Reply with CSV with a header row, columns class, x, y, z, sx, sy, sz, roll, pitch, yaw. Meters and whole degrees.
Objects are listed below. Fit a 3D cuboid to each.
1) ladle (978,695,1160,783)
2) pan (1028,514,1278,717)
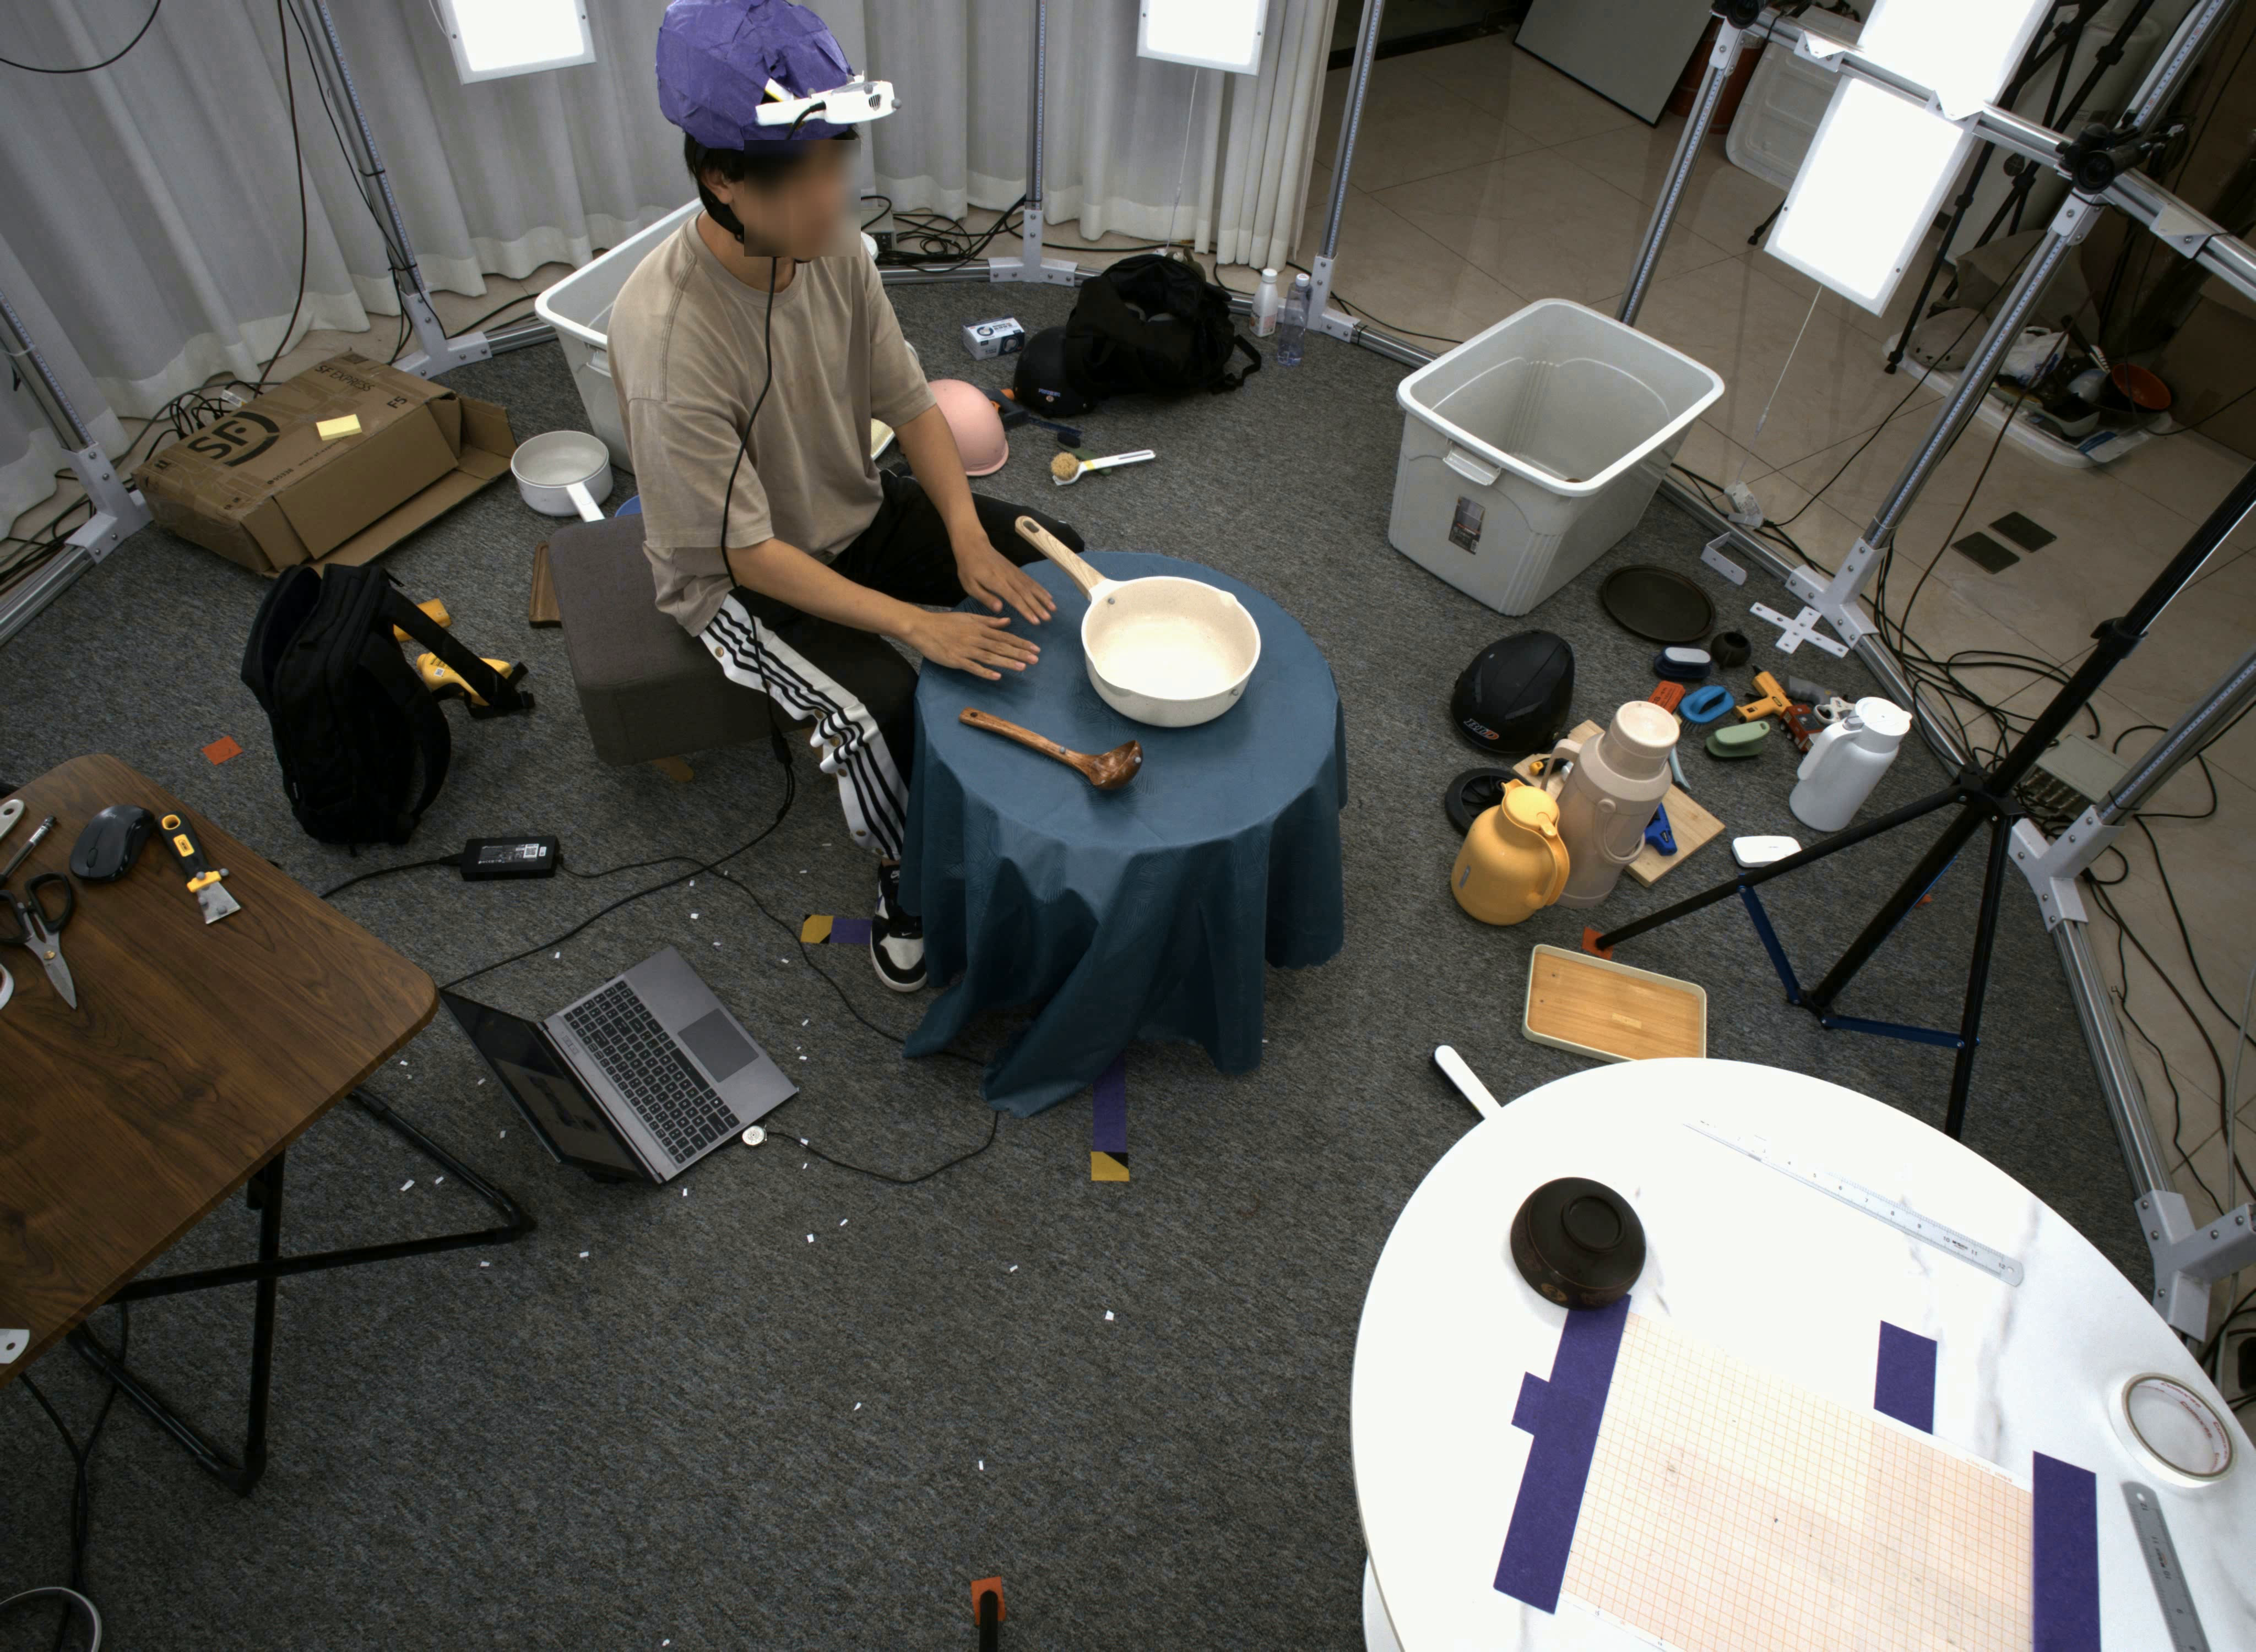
class,x,y,z,sx,sy,sz,roll,pitch,yaw
ladle,-0.084,-0.132,1.707,0.276,0.075,0.083,26,54,16
pan,0.016,-0.311,1.862,0.441,0.099,0.266,37,57,25
